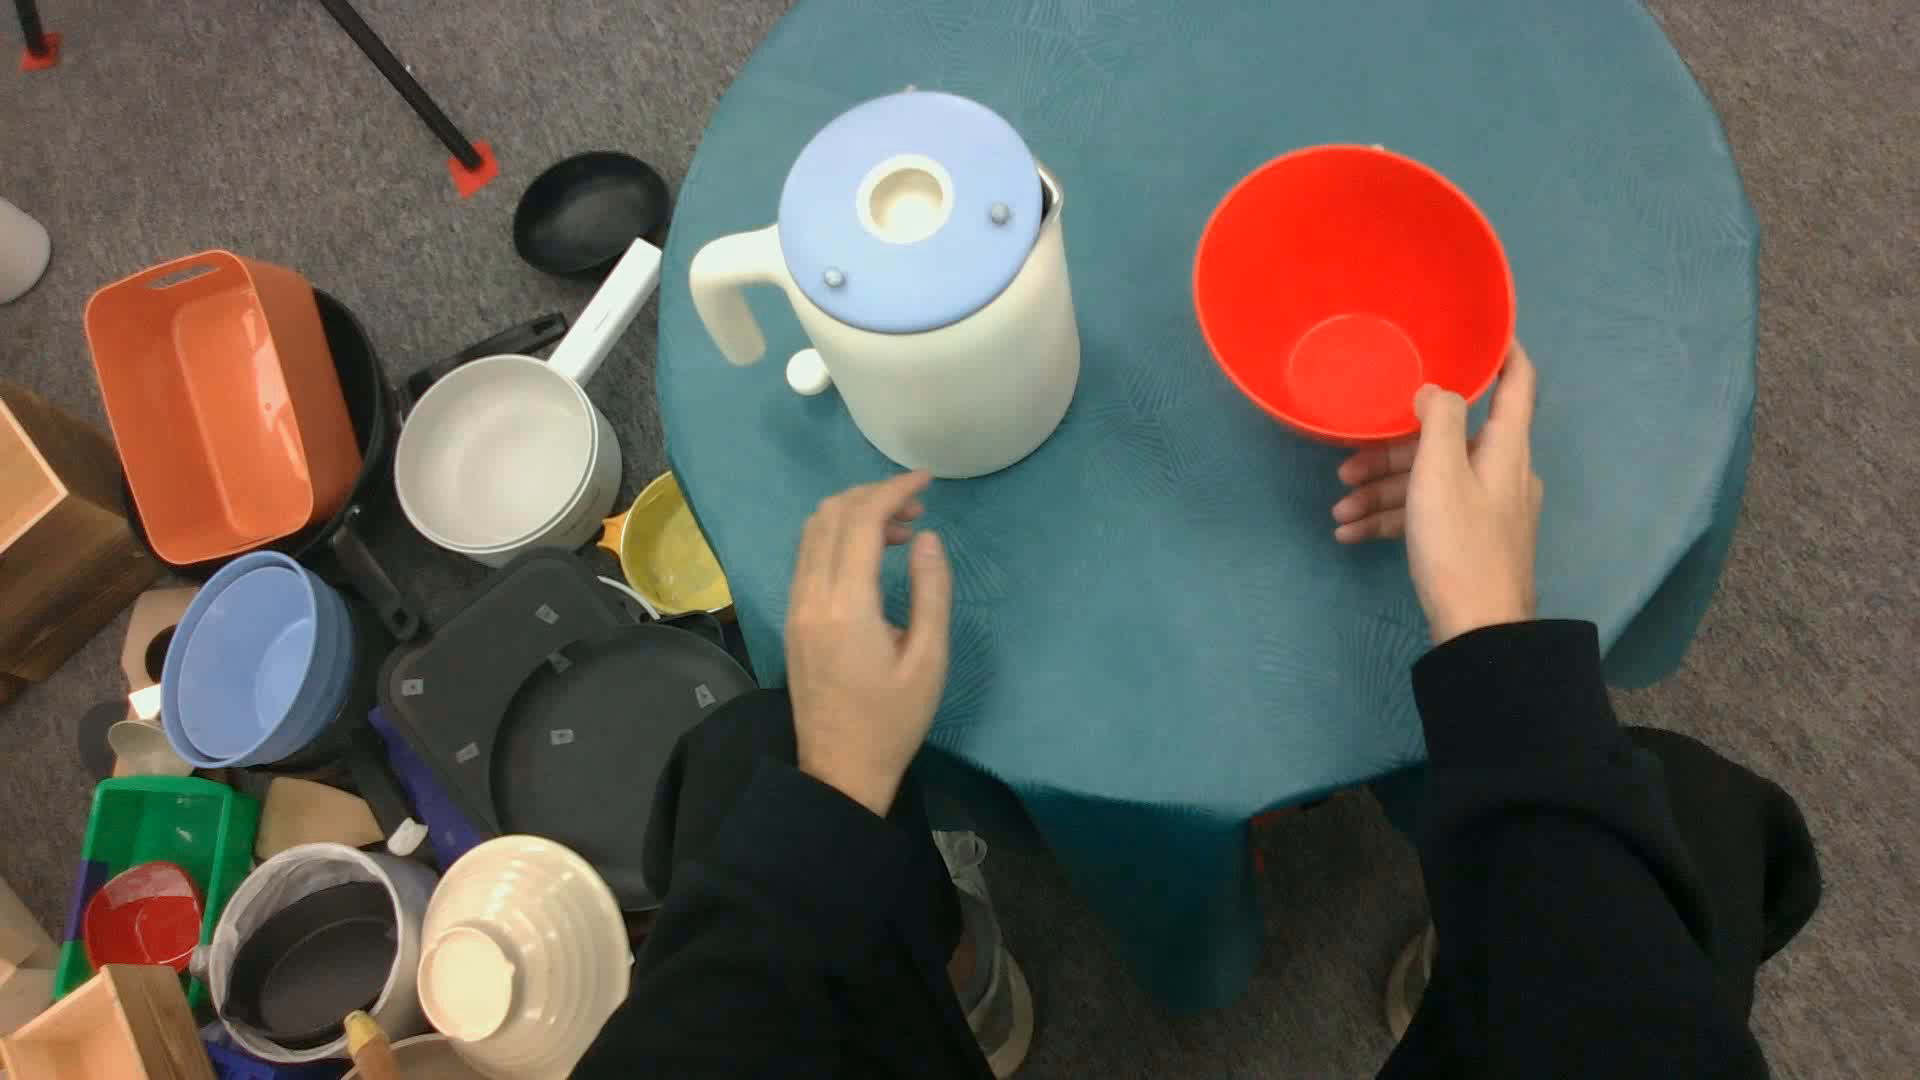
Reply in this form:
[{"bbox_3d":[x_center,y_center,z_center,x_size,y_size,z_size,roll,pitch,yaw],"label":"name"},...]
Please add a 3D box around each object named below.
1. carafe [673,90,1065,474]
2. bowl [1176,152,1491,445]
[{"bbox_3d":[-0.043,-0.118,0.686,0.191,0.182,0.132,-7,69,8],"label":"carafe"},{"bbox_3d":[0.182,-0.106,0.687,0.148,0.104,0.148,-2,71,7],"label":"bowl"}]
